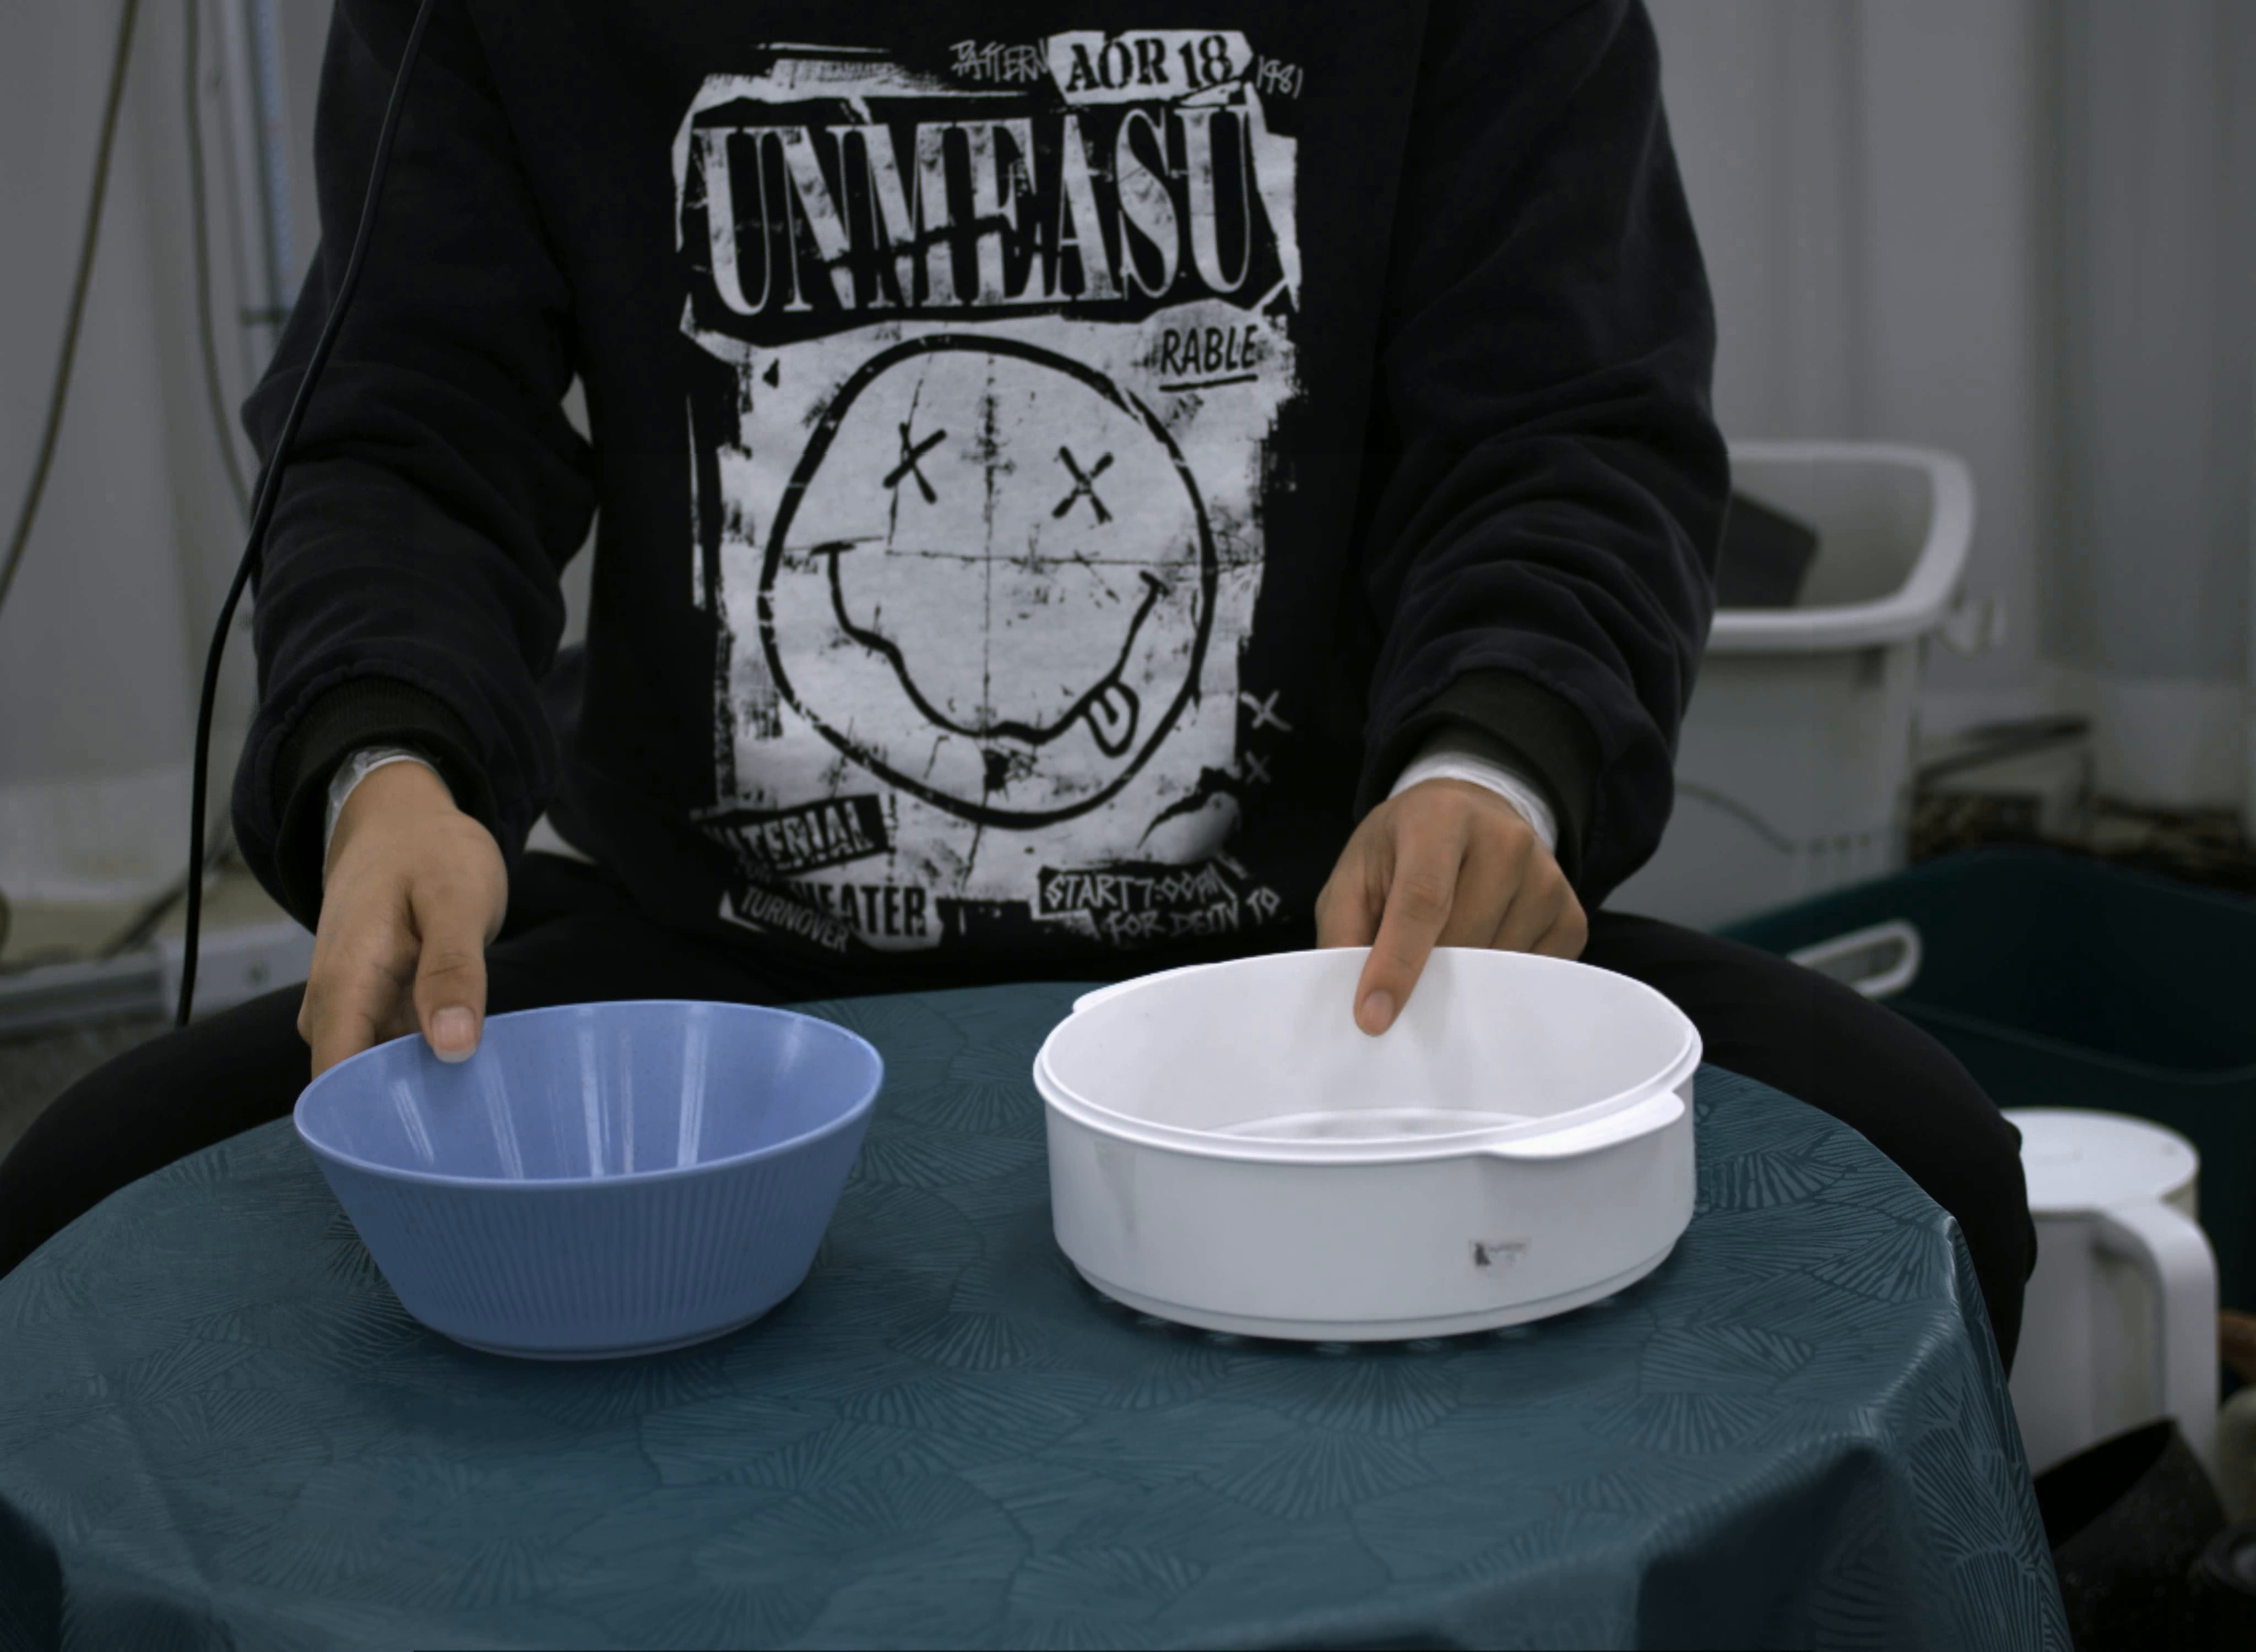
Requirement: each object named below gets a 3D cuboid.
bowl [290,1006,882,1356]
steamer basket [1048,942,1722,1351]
[{"bbox_3d":[-0.160,0.108,1.633,0.175,0.070,0.177,-2,14,0],"label":"bowl"},{"bbox_3d":[0.077,0.096,1.638,0.201,0.069,0.232,-14,21,-36],"label":"steamer basket"}]
